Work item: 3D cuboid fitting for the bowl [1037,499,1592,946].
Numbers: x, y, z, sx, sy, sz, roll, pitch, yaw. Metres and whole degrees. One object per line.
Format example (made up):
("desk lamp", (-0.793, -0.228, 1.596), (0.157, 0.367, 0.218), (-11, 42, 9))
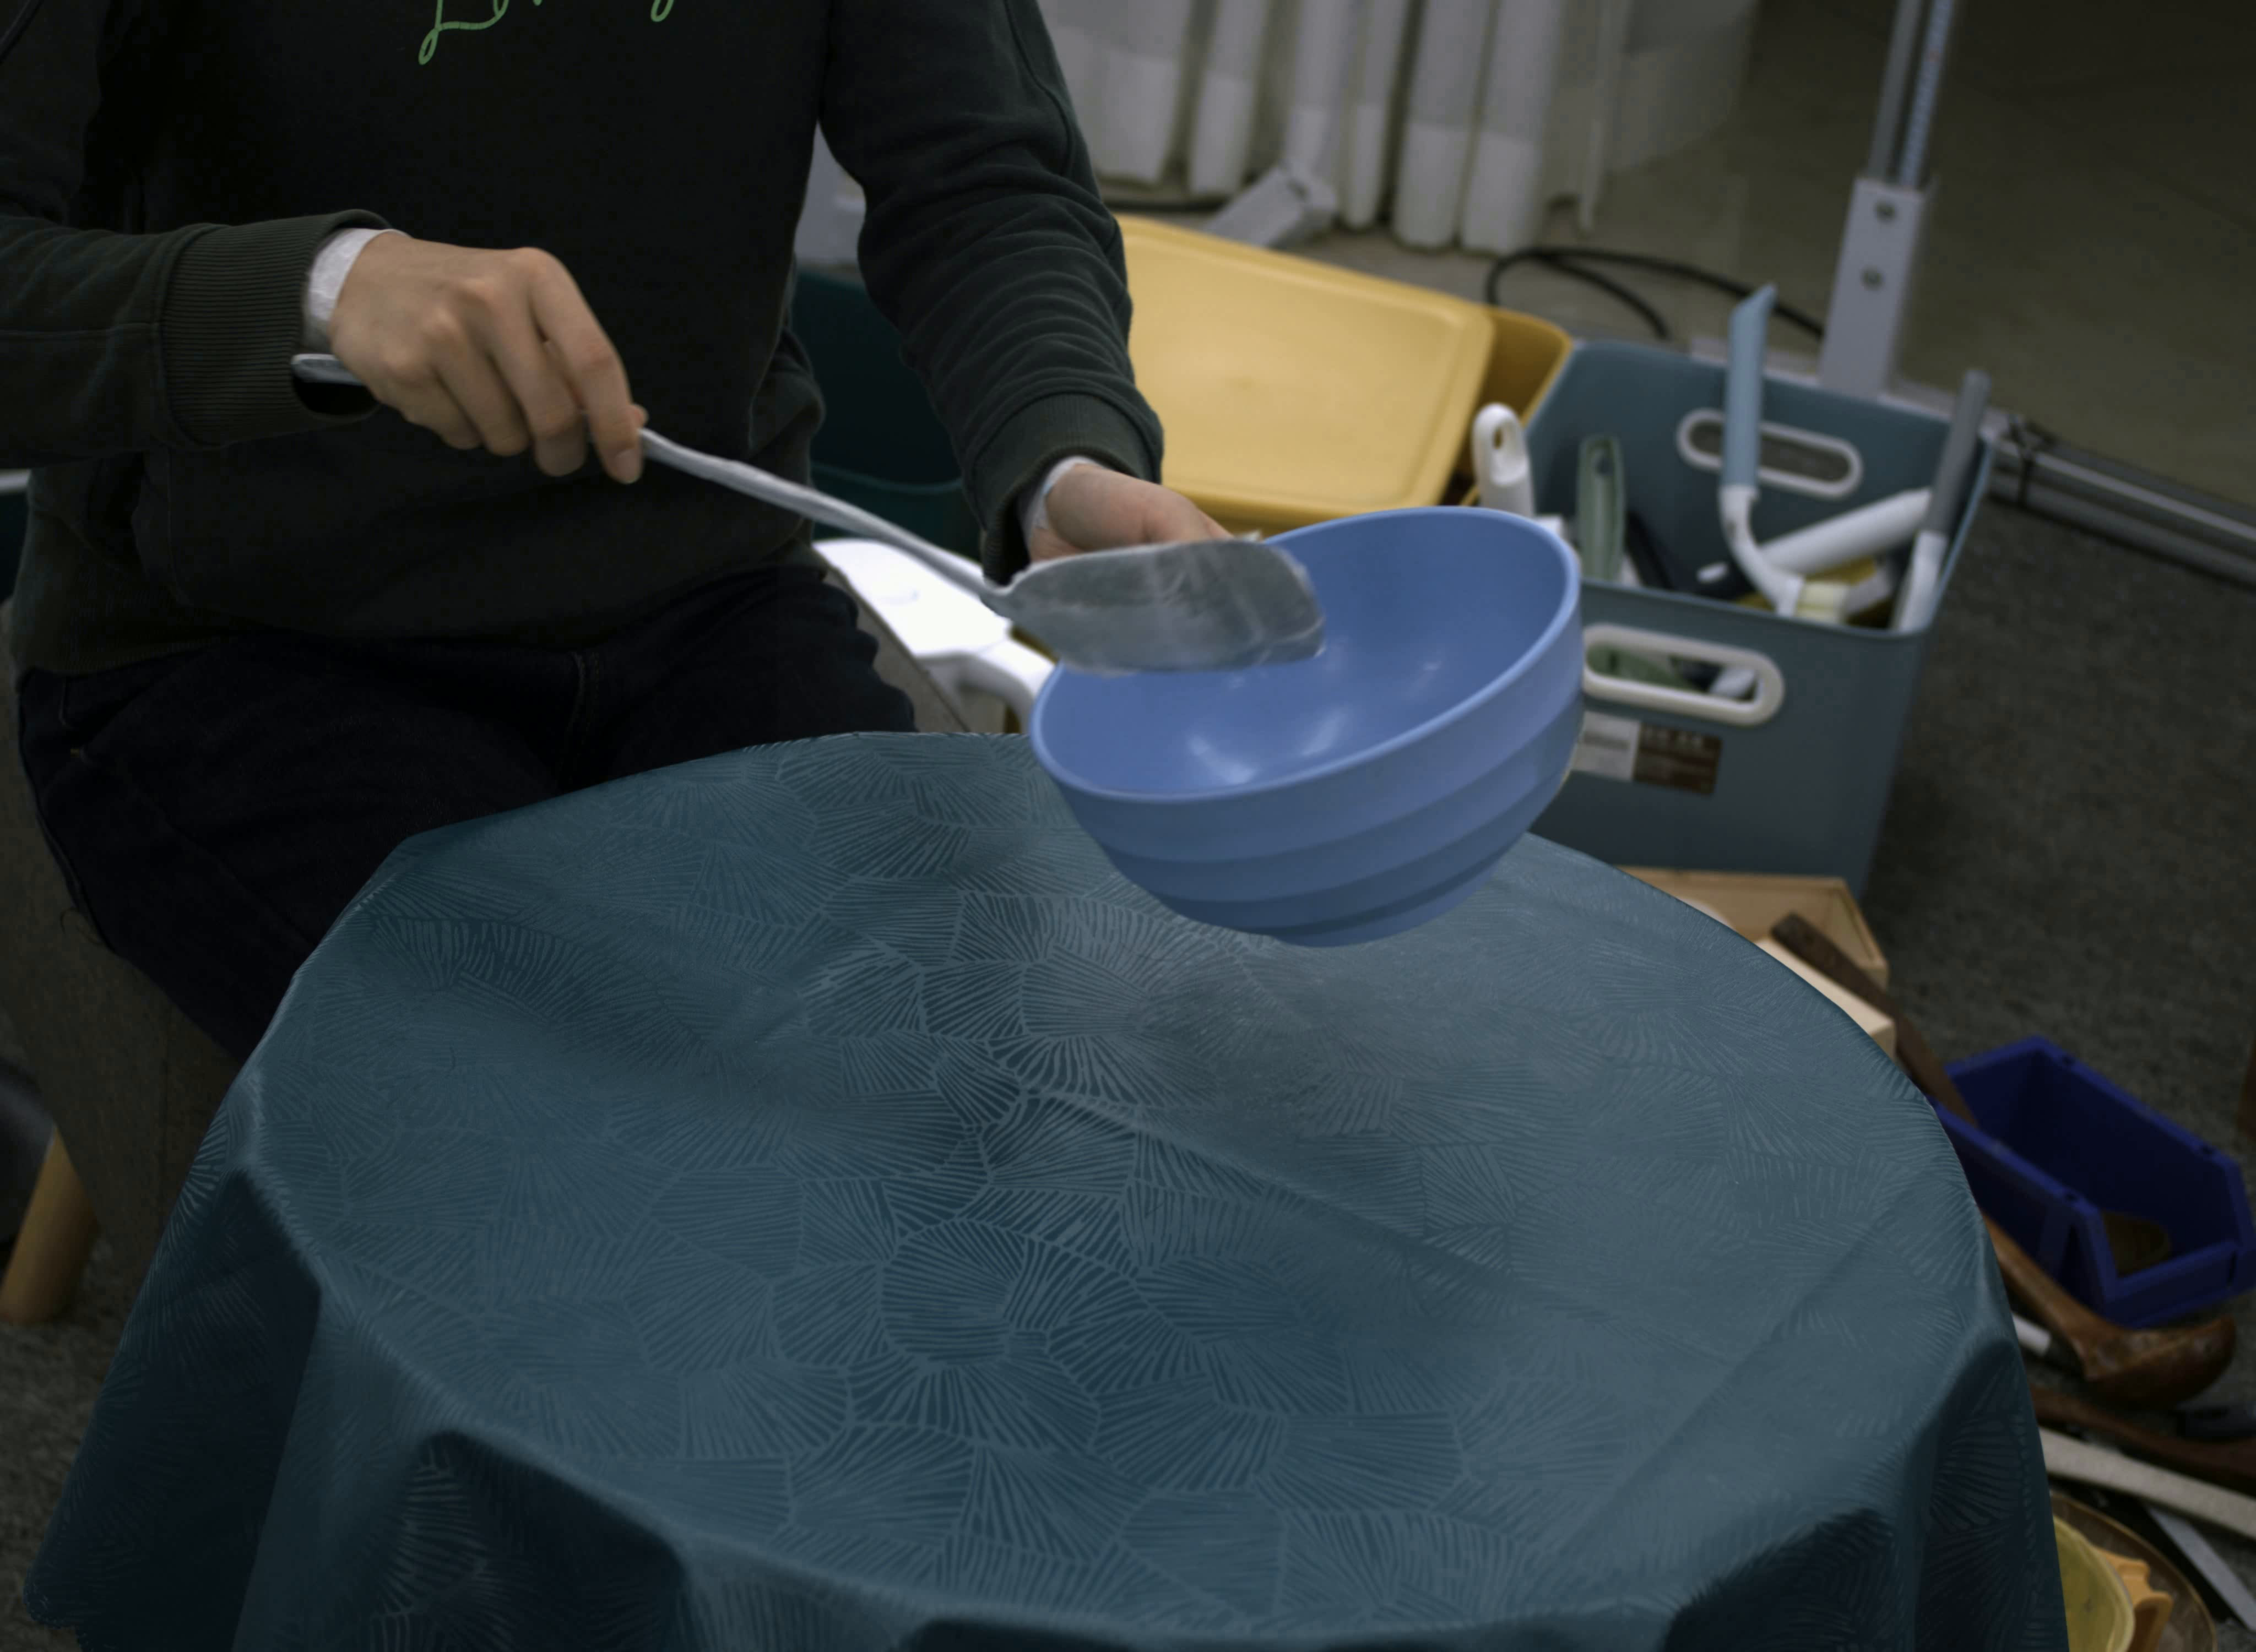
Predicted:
("bowl", (0.076, -0.023, 1.828), (0.196, 0.095, 0.198), (-17, 26, 8))

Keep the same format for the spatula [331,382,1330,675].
("spatula", (-0.108, -0.109, 1.773), (0.366, 0.045, 0.098), (19, -16, 20))
